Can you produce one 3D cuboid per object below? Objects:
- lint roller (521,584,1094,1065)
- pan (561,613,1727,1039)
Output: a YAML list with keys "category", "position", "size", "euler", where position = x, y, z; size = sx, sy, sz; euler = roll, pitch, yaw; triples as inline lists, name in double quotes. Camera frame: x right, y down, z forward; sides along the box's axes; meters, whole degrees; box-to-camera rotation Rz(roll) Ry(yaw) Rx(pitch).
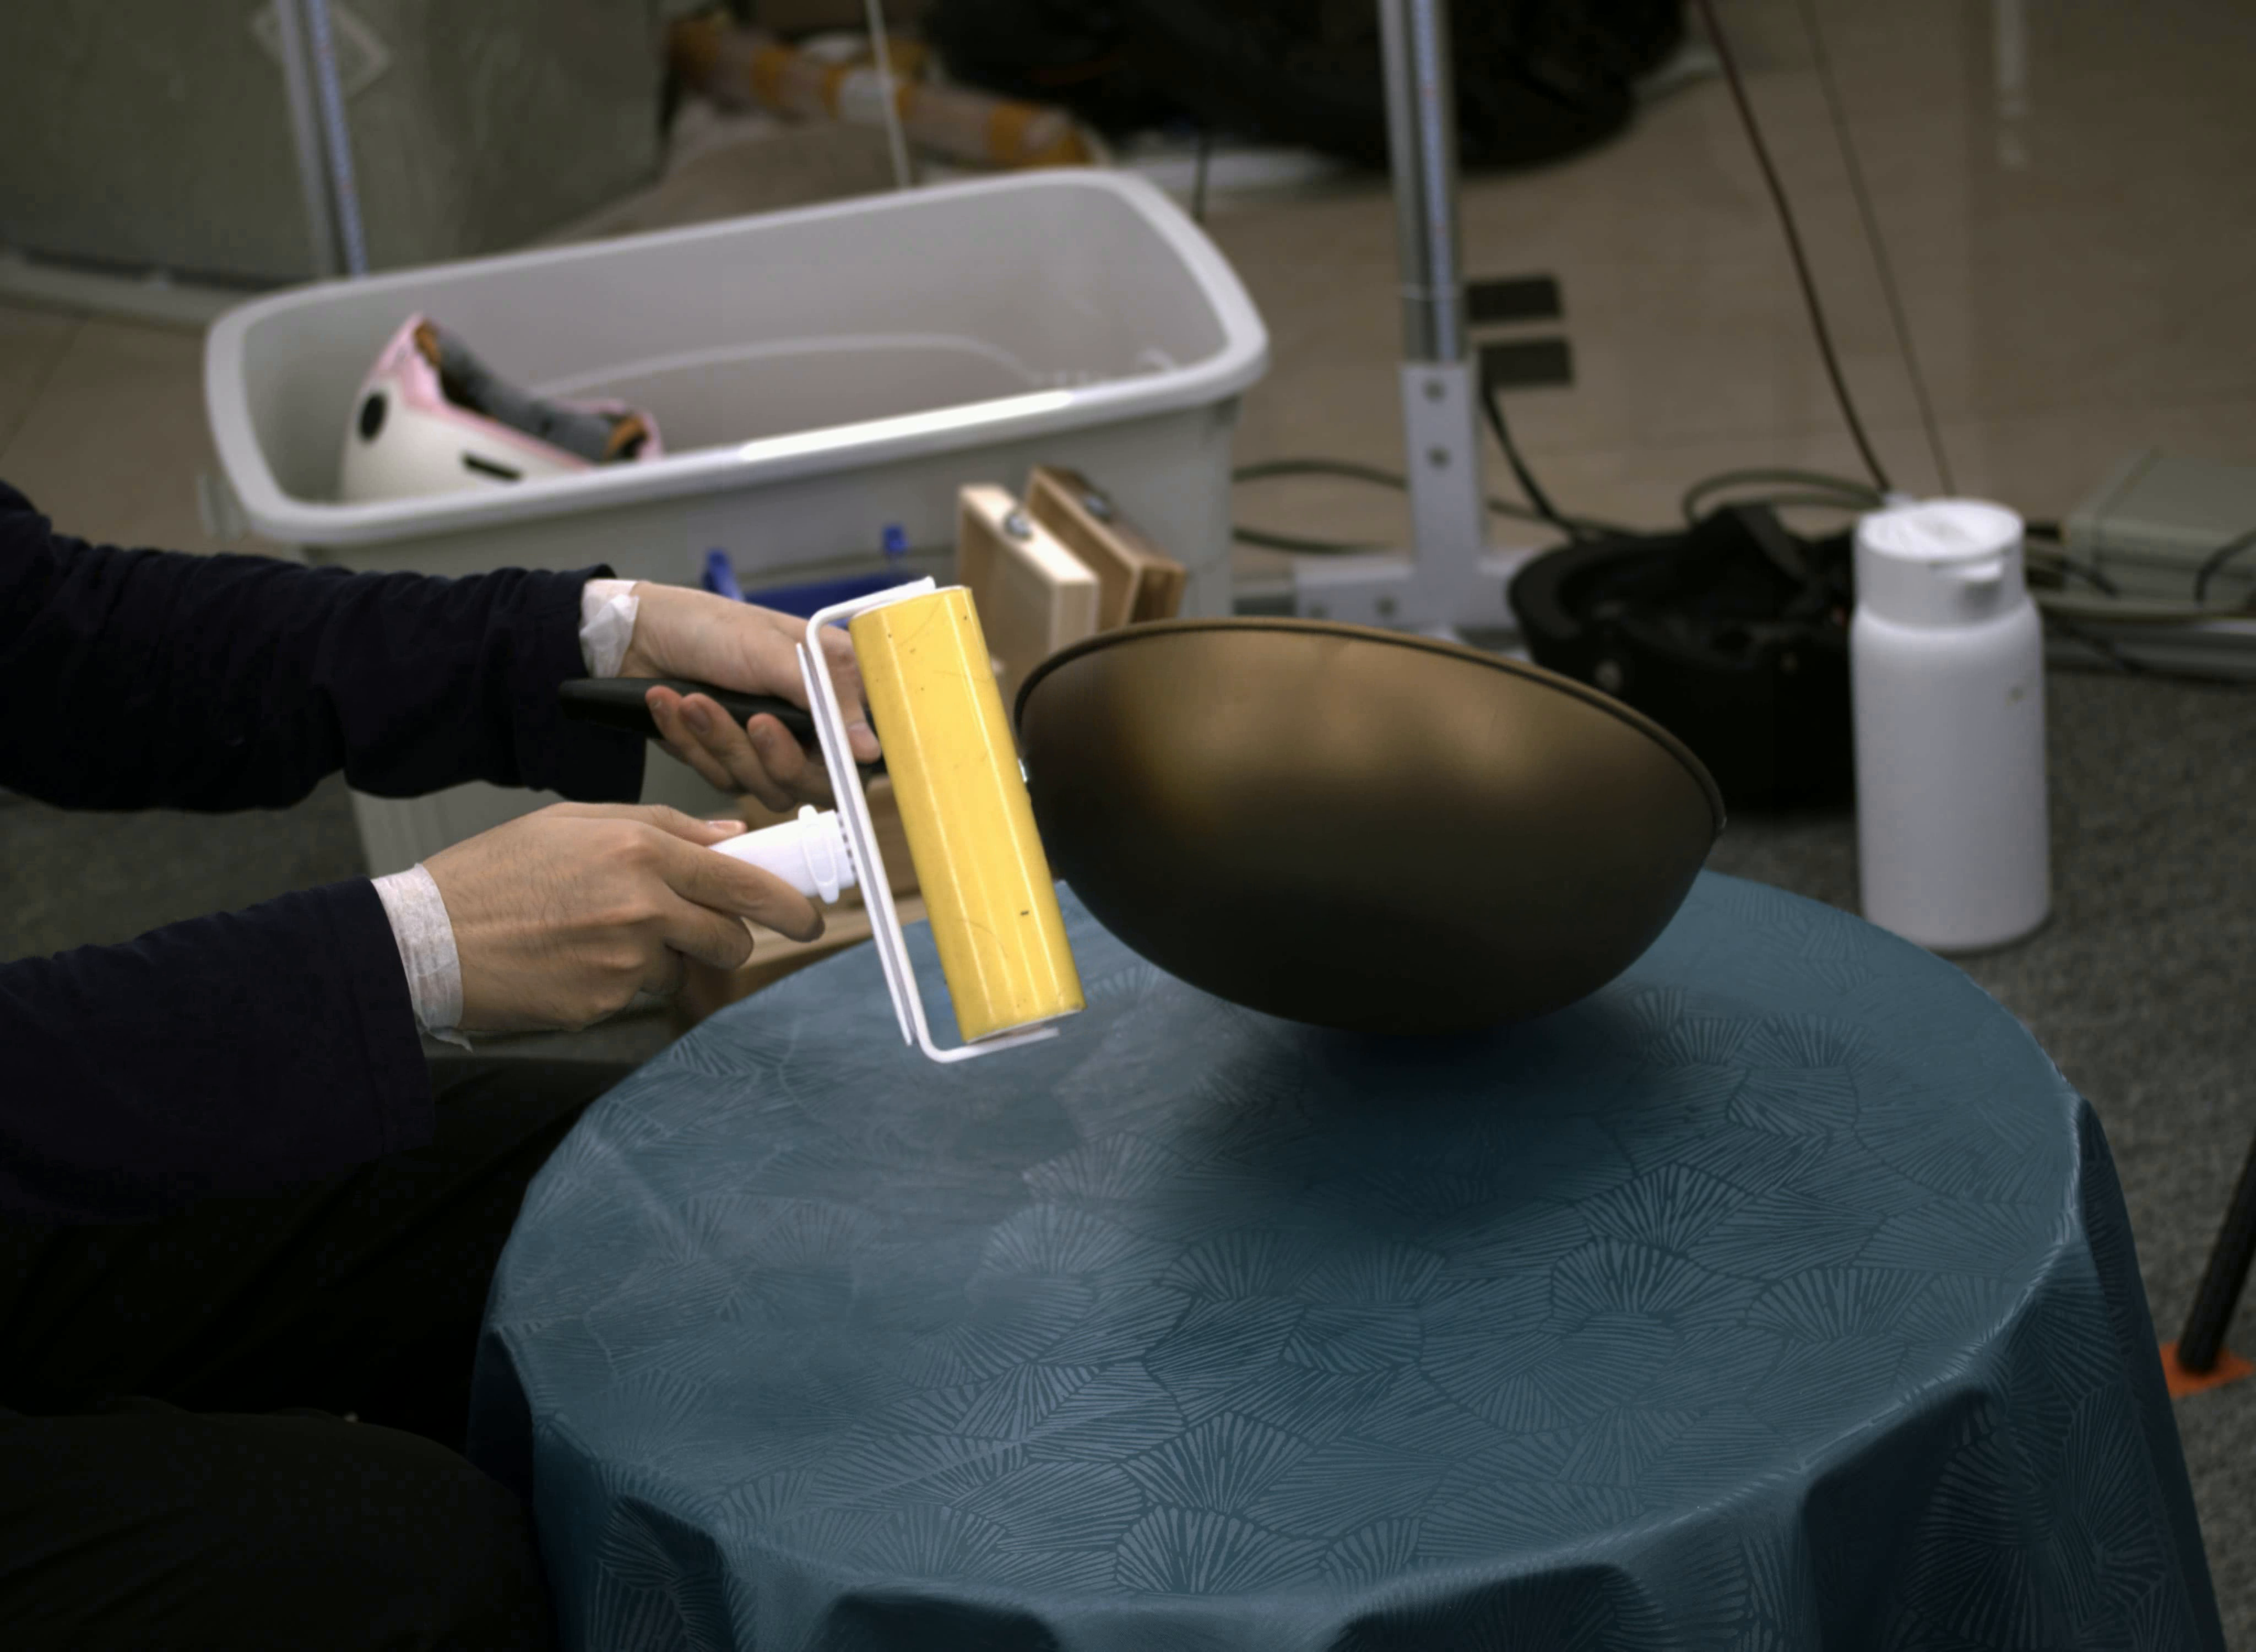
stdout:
- category: "lint roller"
  position: [-0.125, 0.017, 2.049]
  size: [0.191, 0.174, 0.051]
  euler: [-17, -2, -15]
- category: "pan"
  position: [-0.005, 0.005, 2.180]
  size: [0.462, 0.292, 0.086]
  euler: [6, 68, 11]
